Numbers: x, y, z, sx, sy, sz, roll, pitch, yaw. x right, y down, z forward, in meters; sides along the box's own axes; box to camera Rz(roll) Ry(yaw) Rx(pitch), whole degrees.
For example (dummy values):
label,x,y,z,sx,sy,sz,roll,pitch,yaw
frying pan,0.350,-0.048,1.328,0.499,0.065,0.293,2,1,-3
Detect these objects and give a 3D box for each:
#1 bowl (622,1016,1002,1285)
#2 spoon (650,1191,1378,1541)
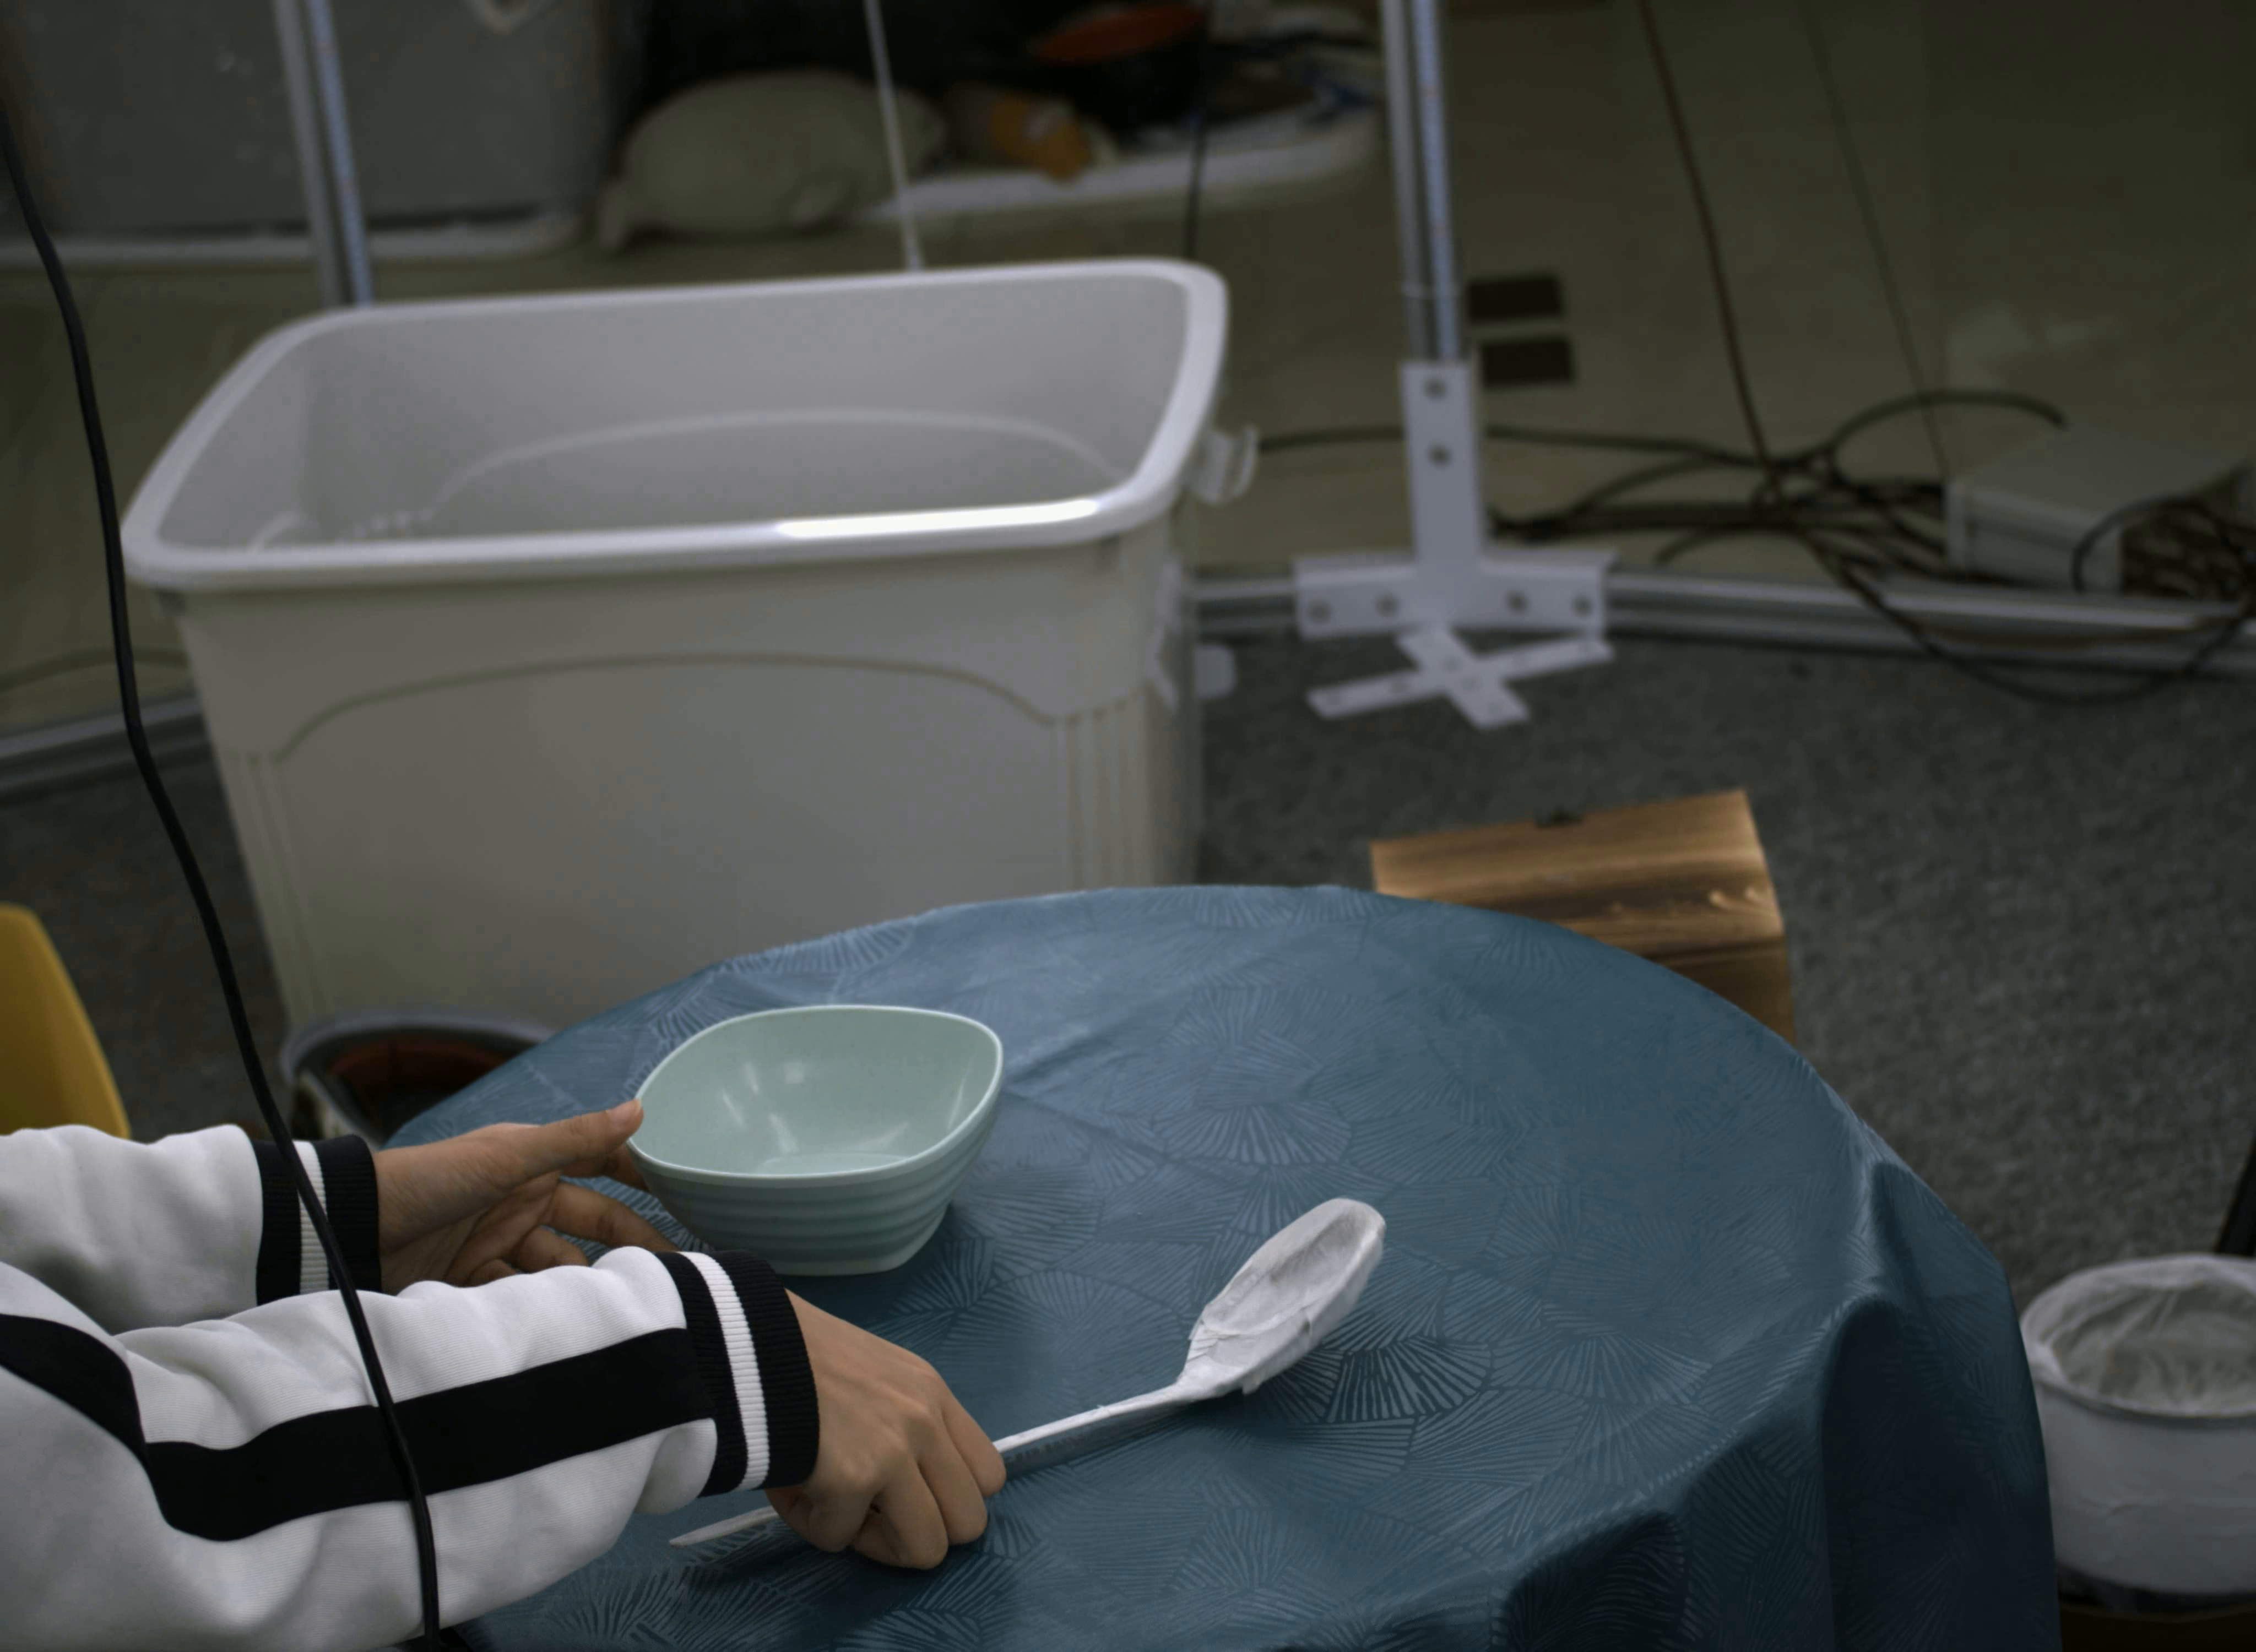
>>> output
label,x,y,z,sx,sy,sz,roll,pitch,yaw
bowl,-0.115,0.128,2.139,0.151,0.059,0.149,-6,25,3
spoon,-0.040,0.188,1.984,0.276,0.059,0.100,-13,4,-16
